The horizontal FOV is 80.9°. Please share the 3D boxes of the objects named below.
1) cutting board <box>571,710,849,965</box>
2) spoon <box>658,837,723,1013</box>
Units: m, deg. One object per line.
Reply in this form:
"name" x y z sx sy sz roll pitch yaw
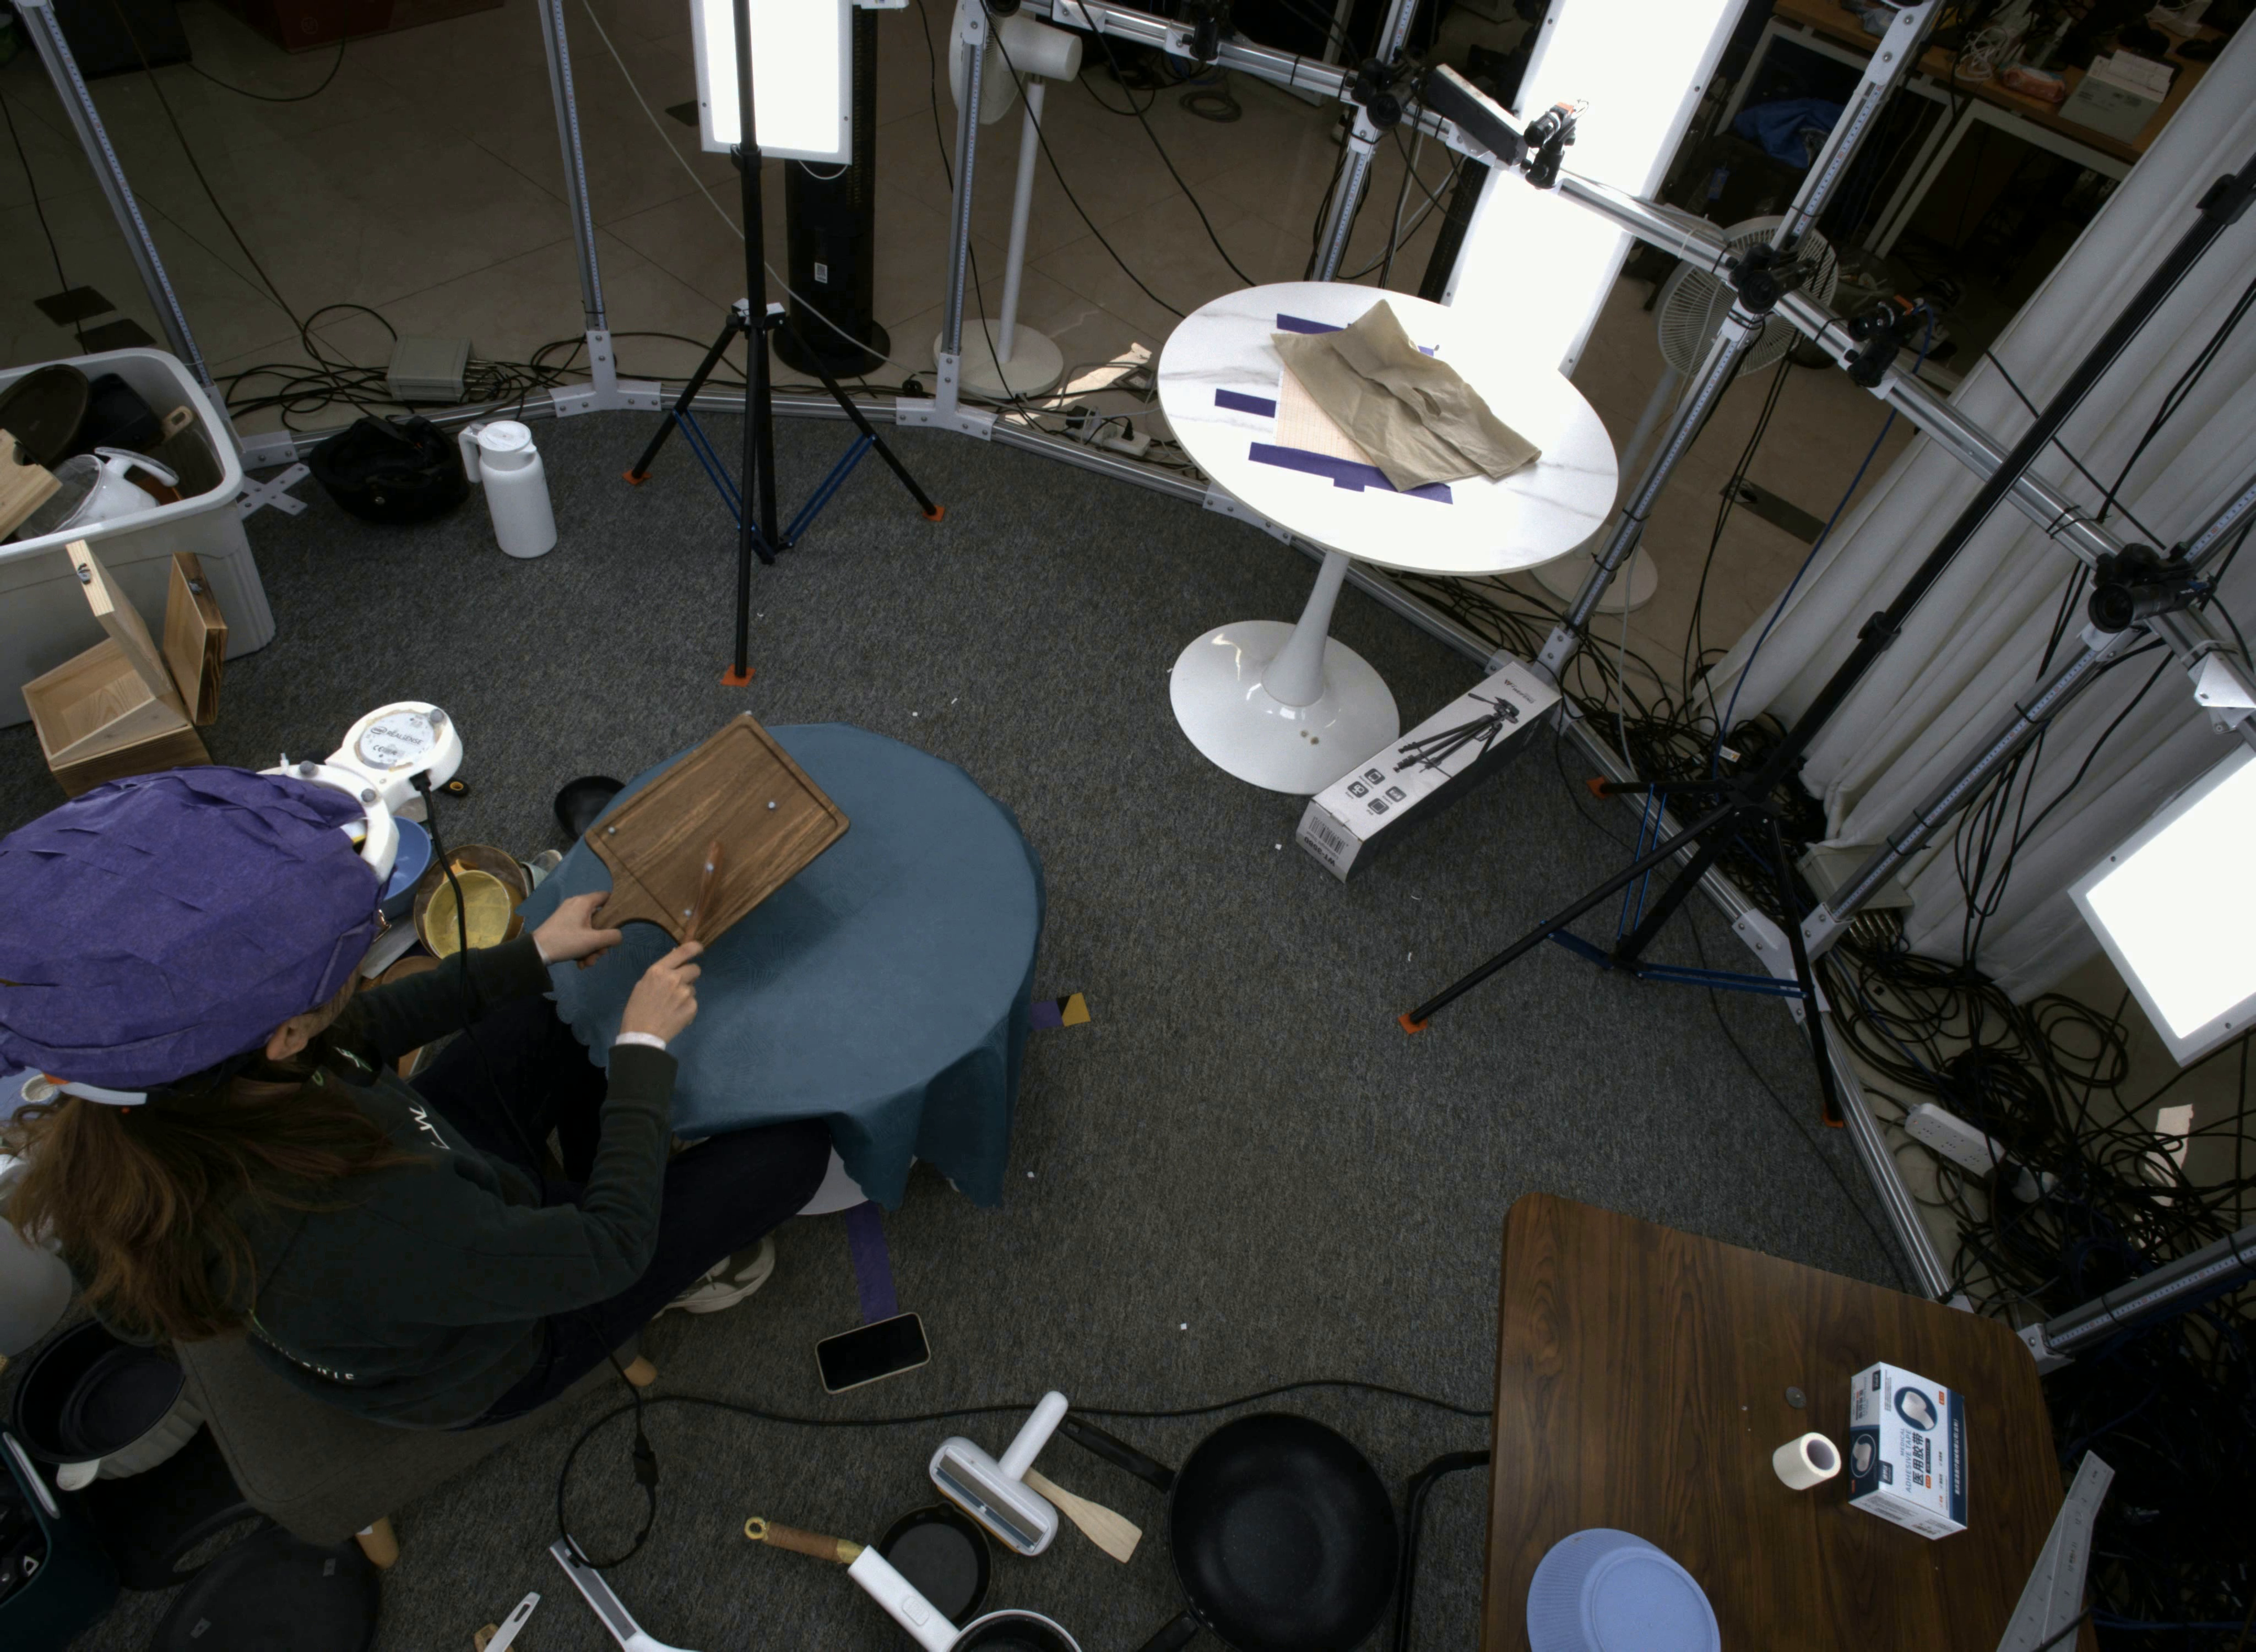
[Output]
"cutting board" -0.522 0.036 1.524 0.202 0.023 0.352 47 65 -2
"spoon" -0.490 0.107 1.453 0.017 0.076 0.213 18 58 -13
